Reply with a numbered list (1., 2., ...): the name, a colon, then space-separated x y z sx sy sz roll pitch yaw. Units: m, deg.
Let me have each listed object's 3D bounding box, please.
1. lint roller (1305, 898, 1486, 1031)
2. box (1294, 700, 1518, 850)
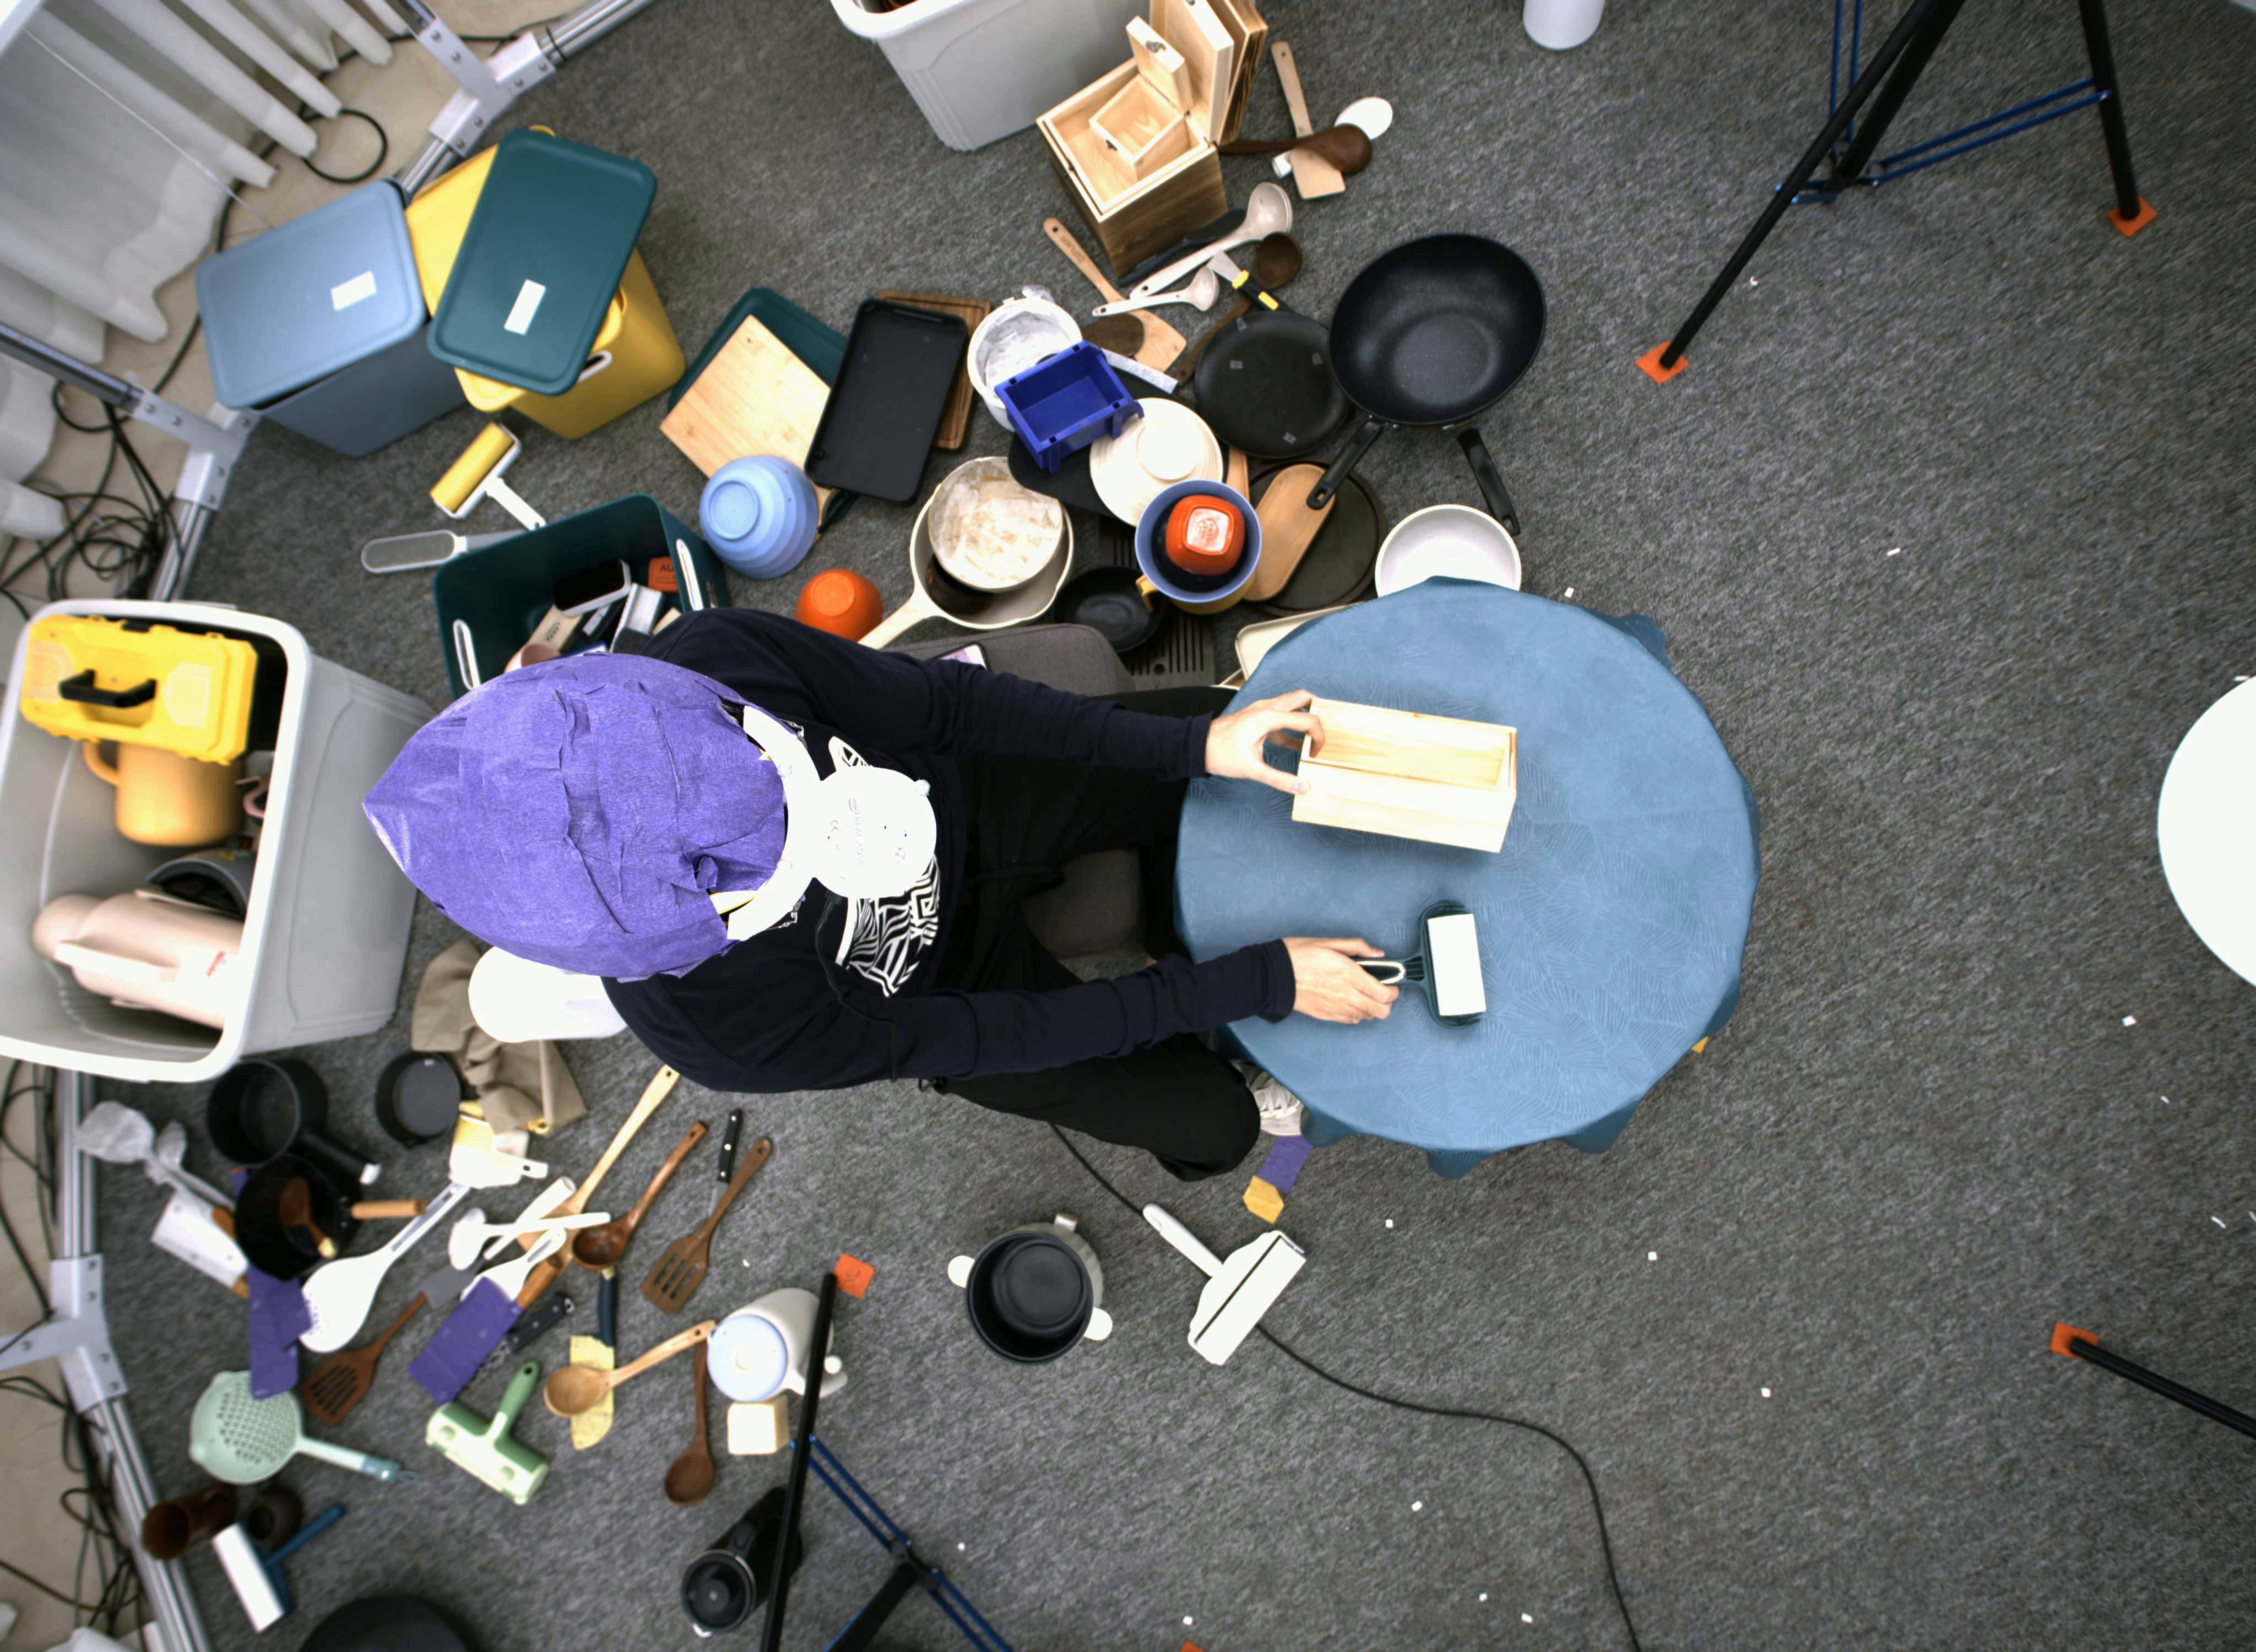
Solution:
1. lint roller: 0.272 0.150 1.426 0.181 0.048 0.133 -7 86 7
2. box: 0.282 -0.054 1.395 0.212 0.082 0.104 7 47 9
